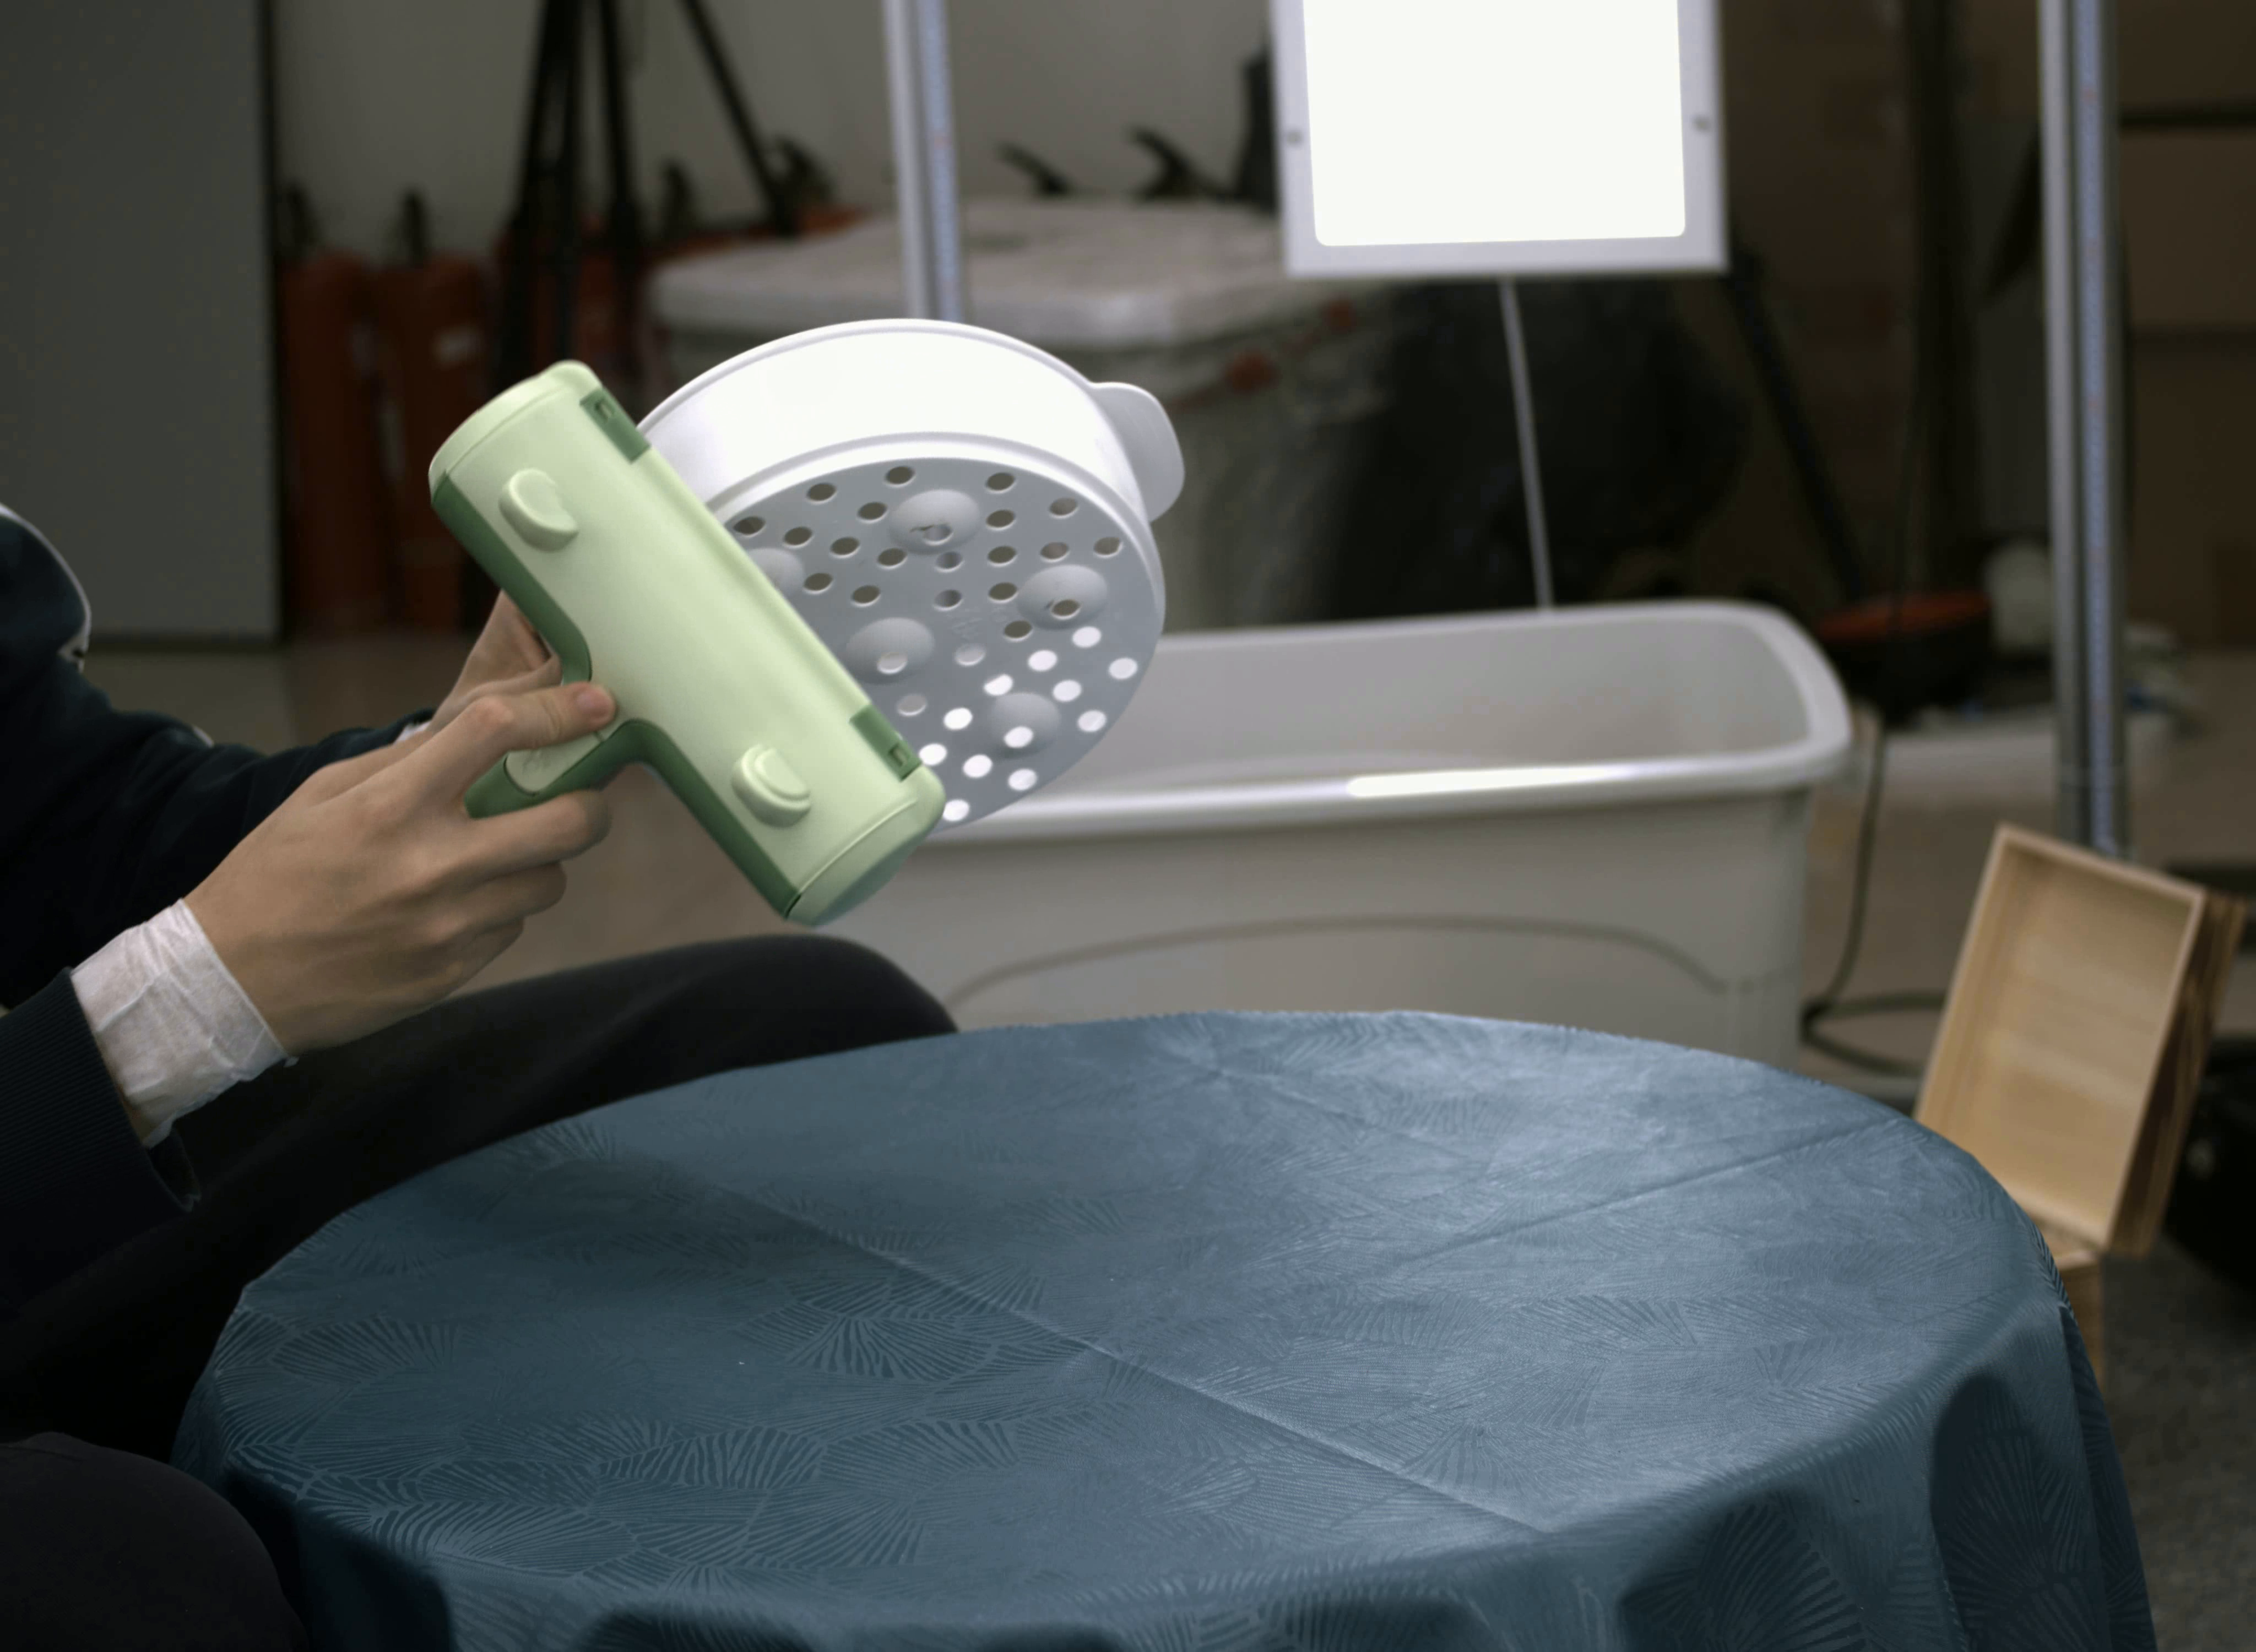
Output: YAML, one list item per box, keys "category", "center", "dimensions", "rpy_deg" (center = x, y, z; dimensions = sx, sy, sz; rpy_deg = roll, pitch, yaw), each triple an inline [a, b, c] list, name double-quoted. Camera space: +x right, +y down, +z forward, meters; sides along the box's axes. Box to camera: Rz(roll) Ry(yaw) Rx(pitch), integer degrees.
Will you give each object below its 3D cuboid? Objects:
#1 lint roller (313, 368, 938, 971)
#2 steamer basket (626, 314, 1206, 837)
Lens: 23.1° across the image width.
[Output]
- category: "lint roller"
  center: [-0.188, -0.020, 1.752]
  dimensions: [0.182, 0.199, 0.082]
  rpy_deg: [-39, -8, -6]
- category: "steamer basket"
  center: [-0.080, -0.079, 1.877]
  dimensions: [0.231, 0.201, 0.069]
  rpy_deg: [-17, 49, 5]
